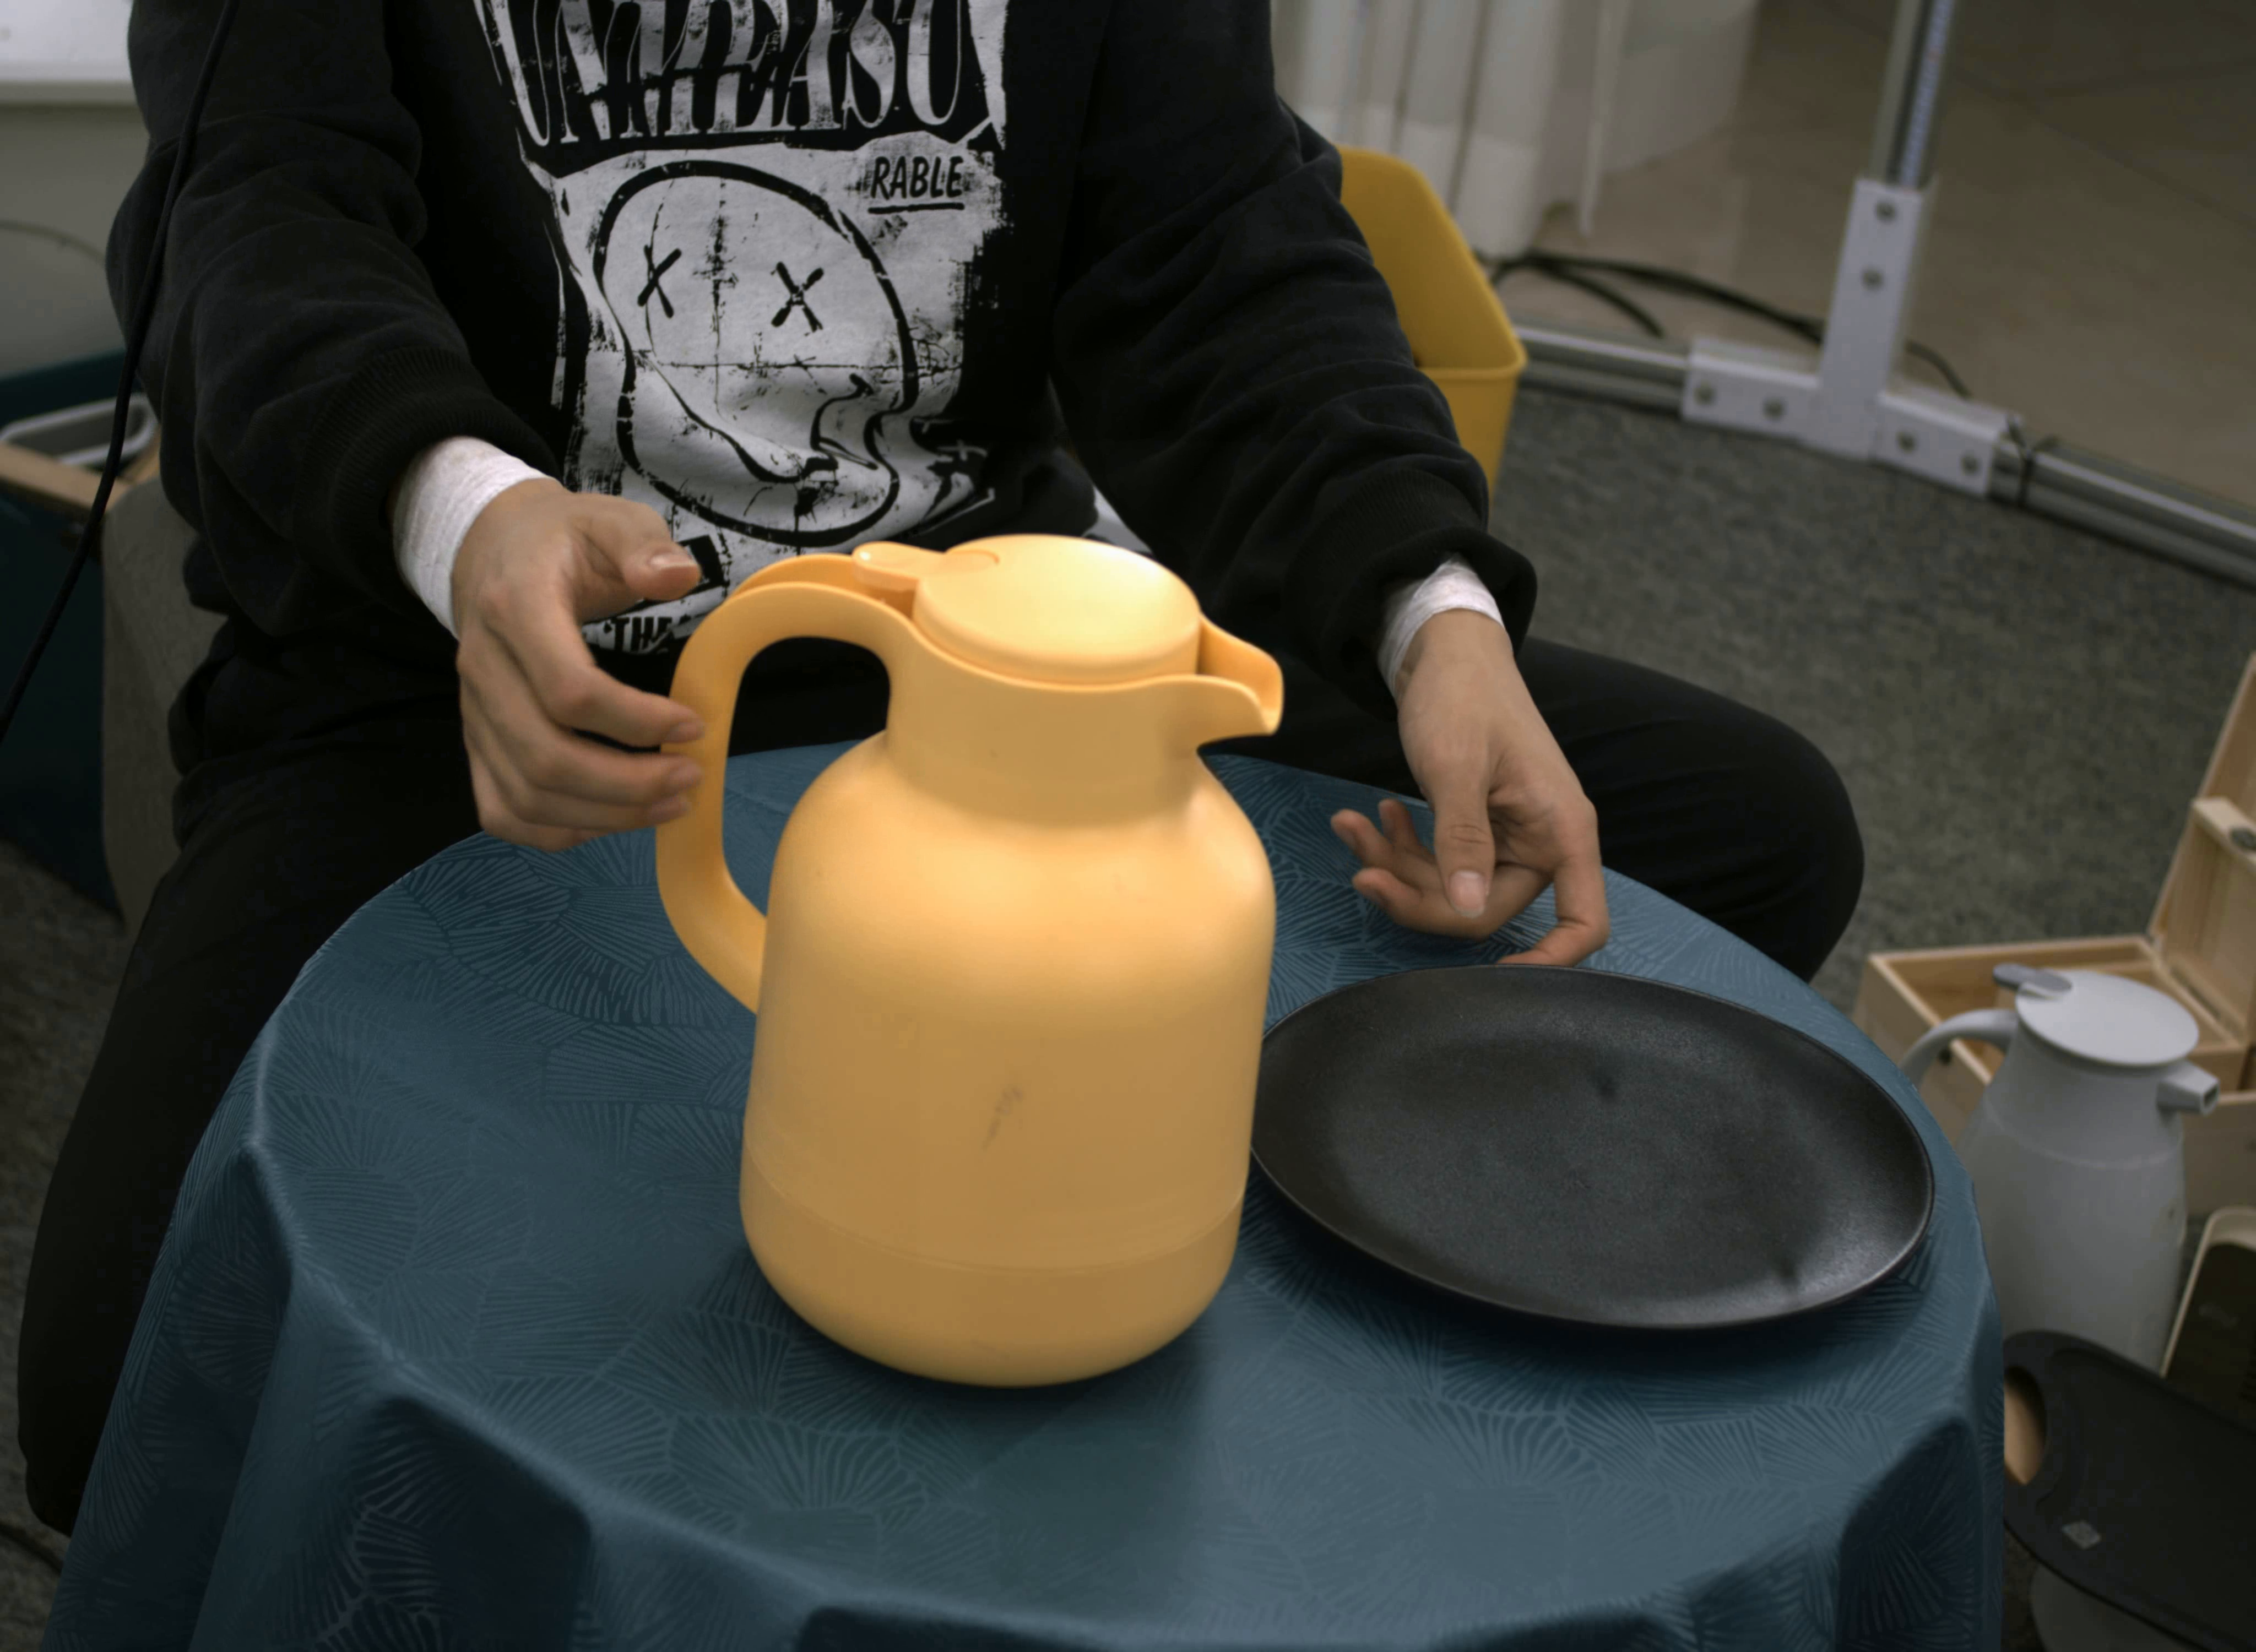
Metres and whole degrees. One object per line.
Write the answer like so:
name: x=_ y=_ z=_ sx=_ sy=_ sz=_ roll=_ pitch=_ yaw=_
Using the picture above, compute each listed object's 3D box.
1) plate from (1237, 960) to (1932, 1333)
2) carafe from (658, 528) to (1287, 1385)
plate: x=0.154 y=0.115 z=1.831 sx=0.243 sy=0.023 sz=0.246 roll=5 pitch=27 yaw=-3
carafe: x=-0.054 y=0.031 z=1.688 sx=0.203 sy=0.260 sz=0.163 roll=16 pitch=26 yaw=15
